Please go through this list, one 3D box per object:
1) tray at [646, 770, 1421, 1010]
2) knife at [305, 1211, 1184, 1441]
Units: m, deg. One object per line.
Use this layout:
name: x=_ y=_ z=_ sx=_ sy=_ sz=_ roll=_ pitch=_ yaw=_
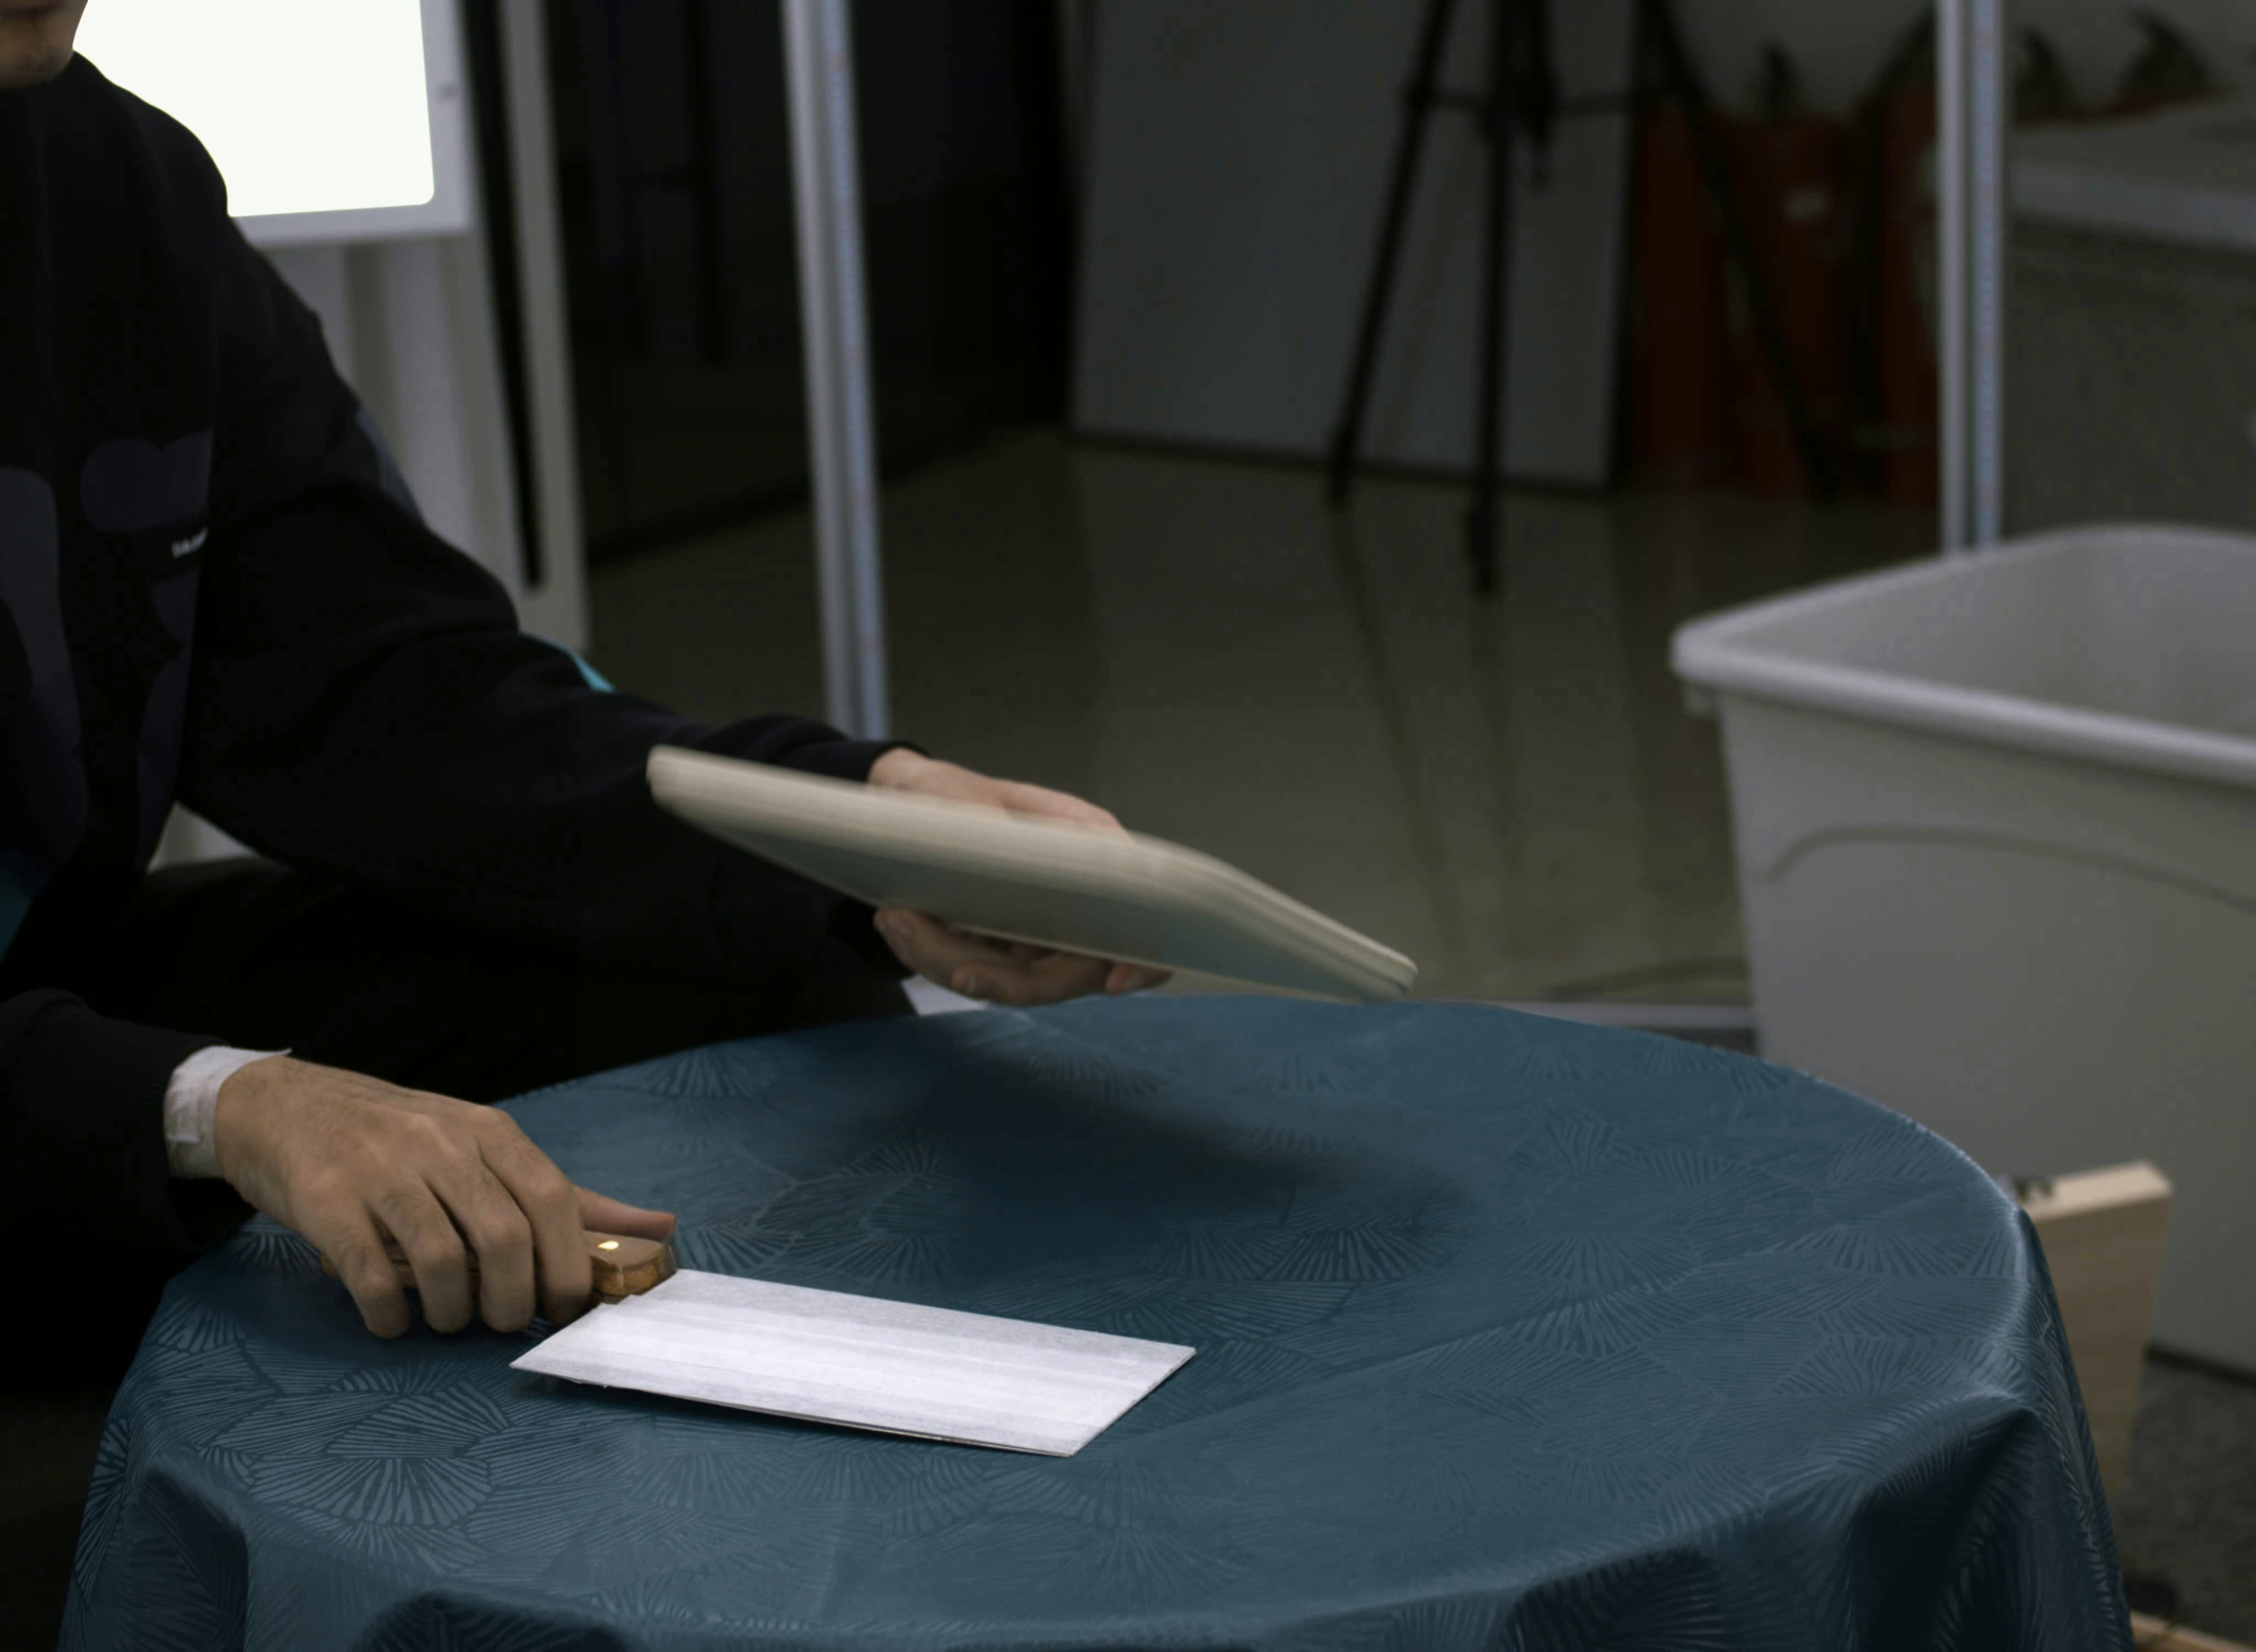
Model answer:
tray: x=-0.033 y=0.023 z=1.780 sx=0.241 sy=0.017 sz=0.168 roll=10 pitch=-9 yaw=37
knife: x=-0.132 y=0.155 z=1.642 sx=0.306 sy=0.021 sz=0.091 roll=6 pitch=18 yaw=27
